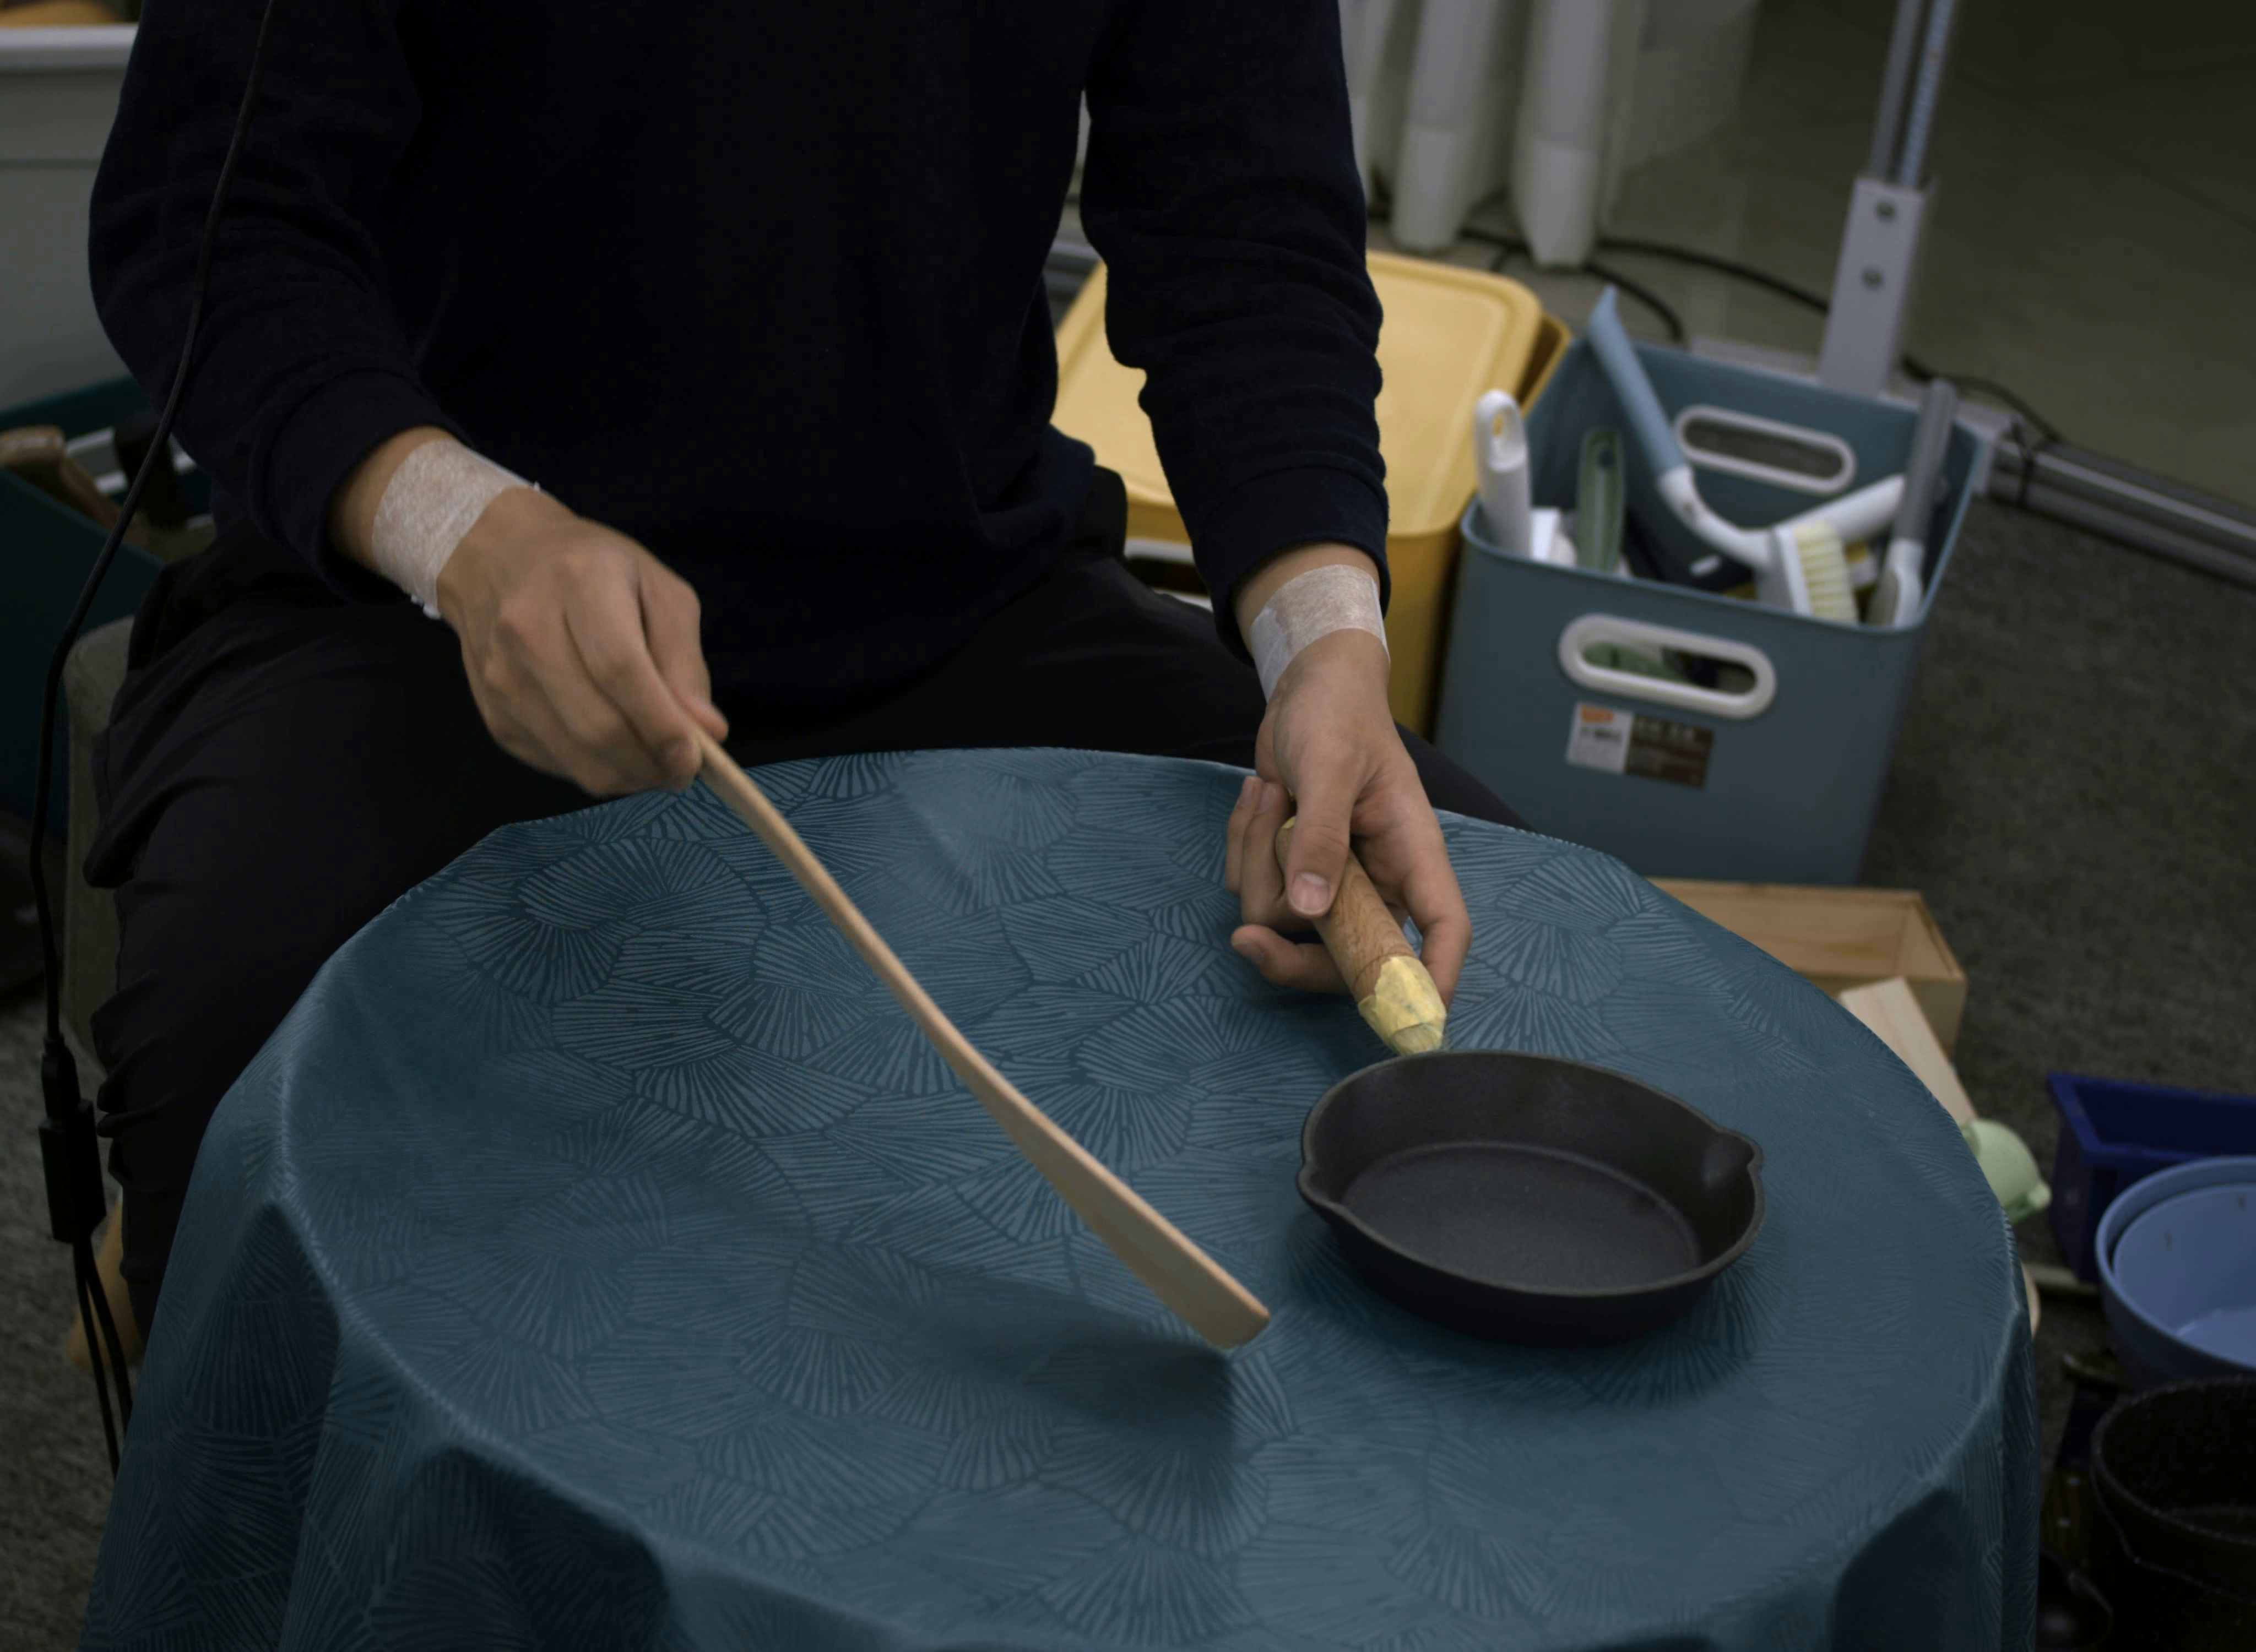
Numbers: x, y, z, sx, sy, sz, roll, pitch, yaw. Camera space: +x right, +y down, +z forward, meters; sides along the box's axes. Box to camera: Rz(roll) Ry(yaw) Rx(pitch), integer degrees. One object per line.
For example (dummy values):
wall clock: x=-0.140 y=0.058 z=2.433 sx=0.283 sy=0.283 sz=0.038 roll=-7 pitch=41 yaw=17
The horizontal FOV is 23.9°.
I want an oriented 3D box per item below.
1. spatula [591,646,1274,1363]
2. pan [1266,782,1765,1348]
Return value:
spatula: x=-0.068 y=0.056 z=1.724 sx=0.016 sy=0.079 sz=0.329 roll=-38 pitch=72 yaw=-16
pan: x=0.110 y=0.081 z=1.855 sx=0.168 sy=0.049 sz=0.327 roll=-3 pitch=30 yaw=-18
